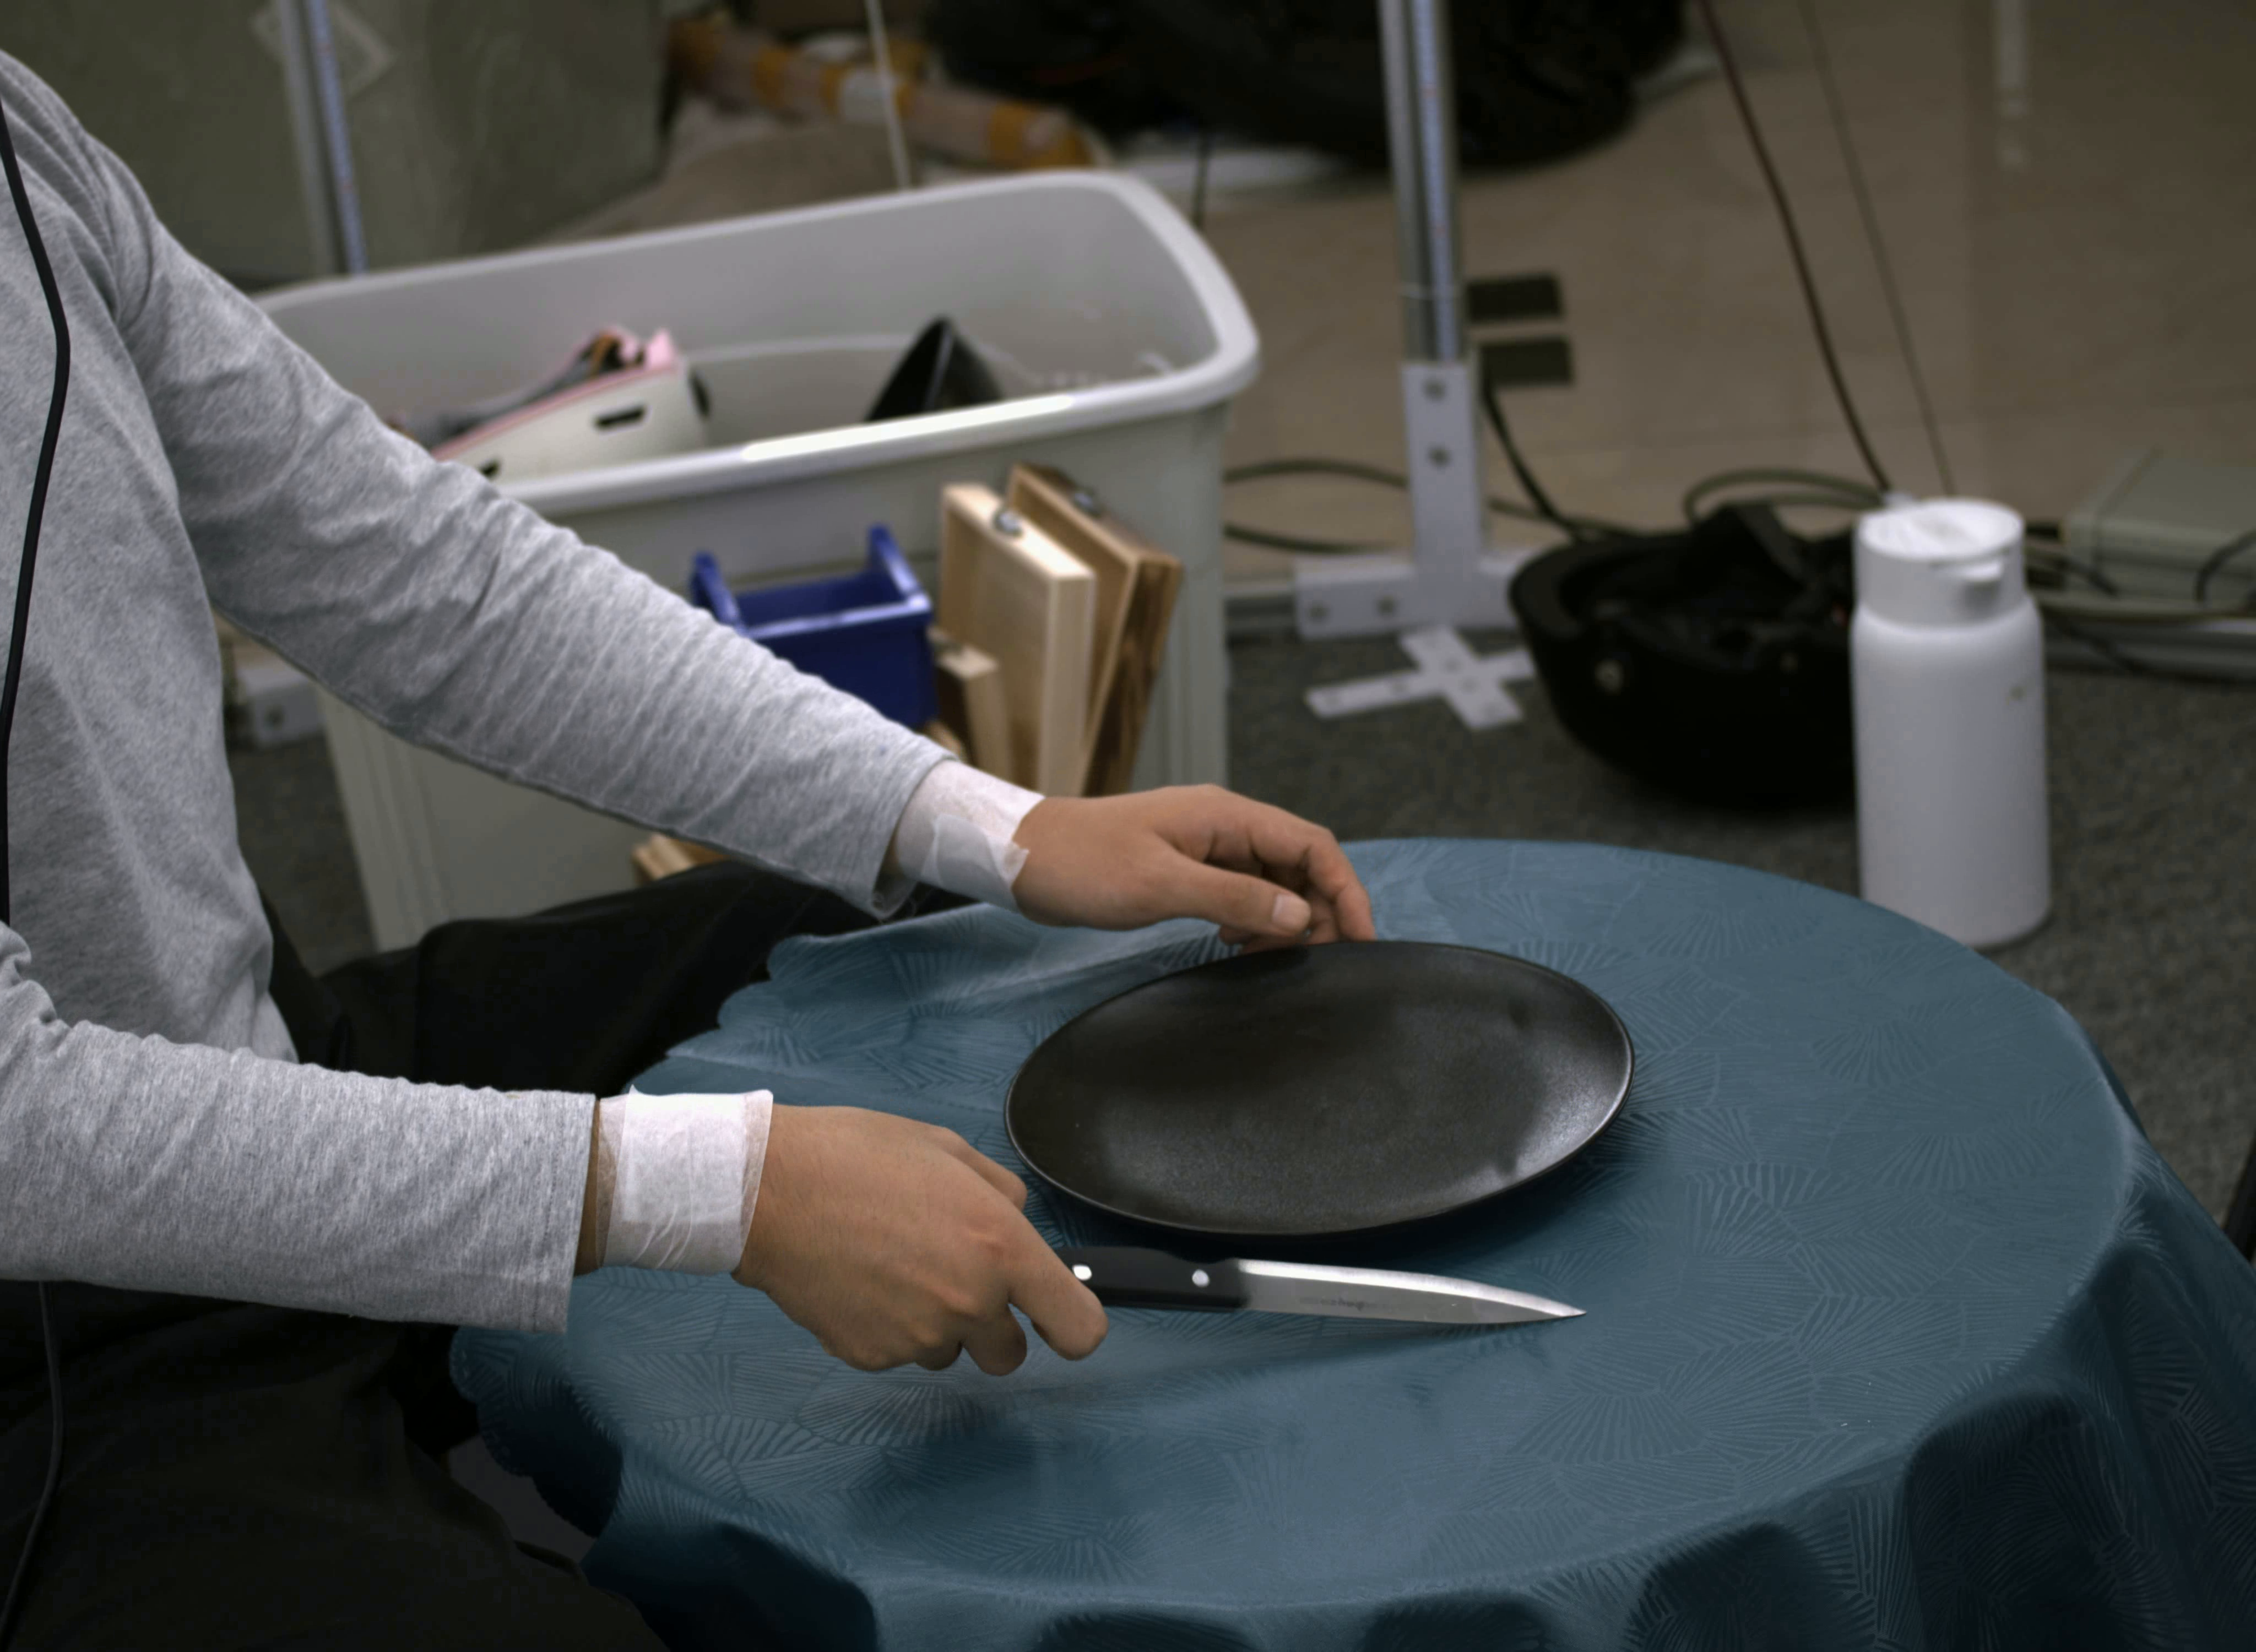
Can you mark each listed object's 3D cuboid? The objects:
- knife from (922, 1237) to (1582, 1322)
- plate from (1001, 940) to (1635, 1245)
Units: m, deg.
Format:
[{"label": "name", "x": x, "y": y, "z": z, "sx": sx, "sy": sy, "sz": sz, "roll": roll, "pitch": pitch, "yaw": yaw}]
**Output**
[{"label": "knife", "x": 0.045, "y": 0.165, "z": 2.026, "sx": 0.238, "sy": 0.016, "sz": 0.024, "roll": 4, "pitch": 48, "yaw": -4}, {"label": "plate", "x": 0.073, "y": 0.107, "z": 2.176, "sx": 0.244, "sy": 0.024, "sz": 0.241, "roll": -5, "pitch": 25, "yaw": 3}]
